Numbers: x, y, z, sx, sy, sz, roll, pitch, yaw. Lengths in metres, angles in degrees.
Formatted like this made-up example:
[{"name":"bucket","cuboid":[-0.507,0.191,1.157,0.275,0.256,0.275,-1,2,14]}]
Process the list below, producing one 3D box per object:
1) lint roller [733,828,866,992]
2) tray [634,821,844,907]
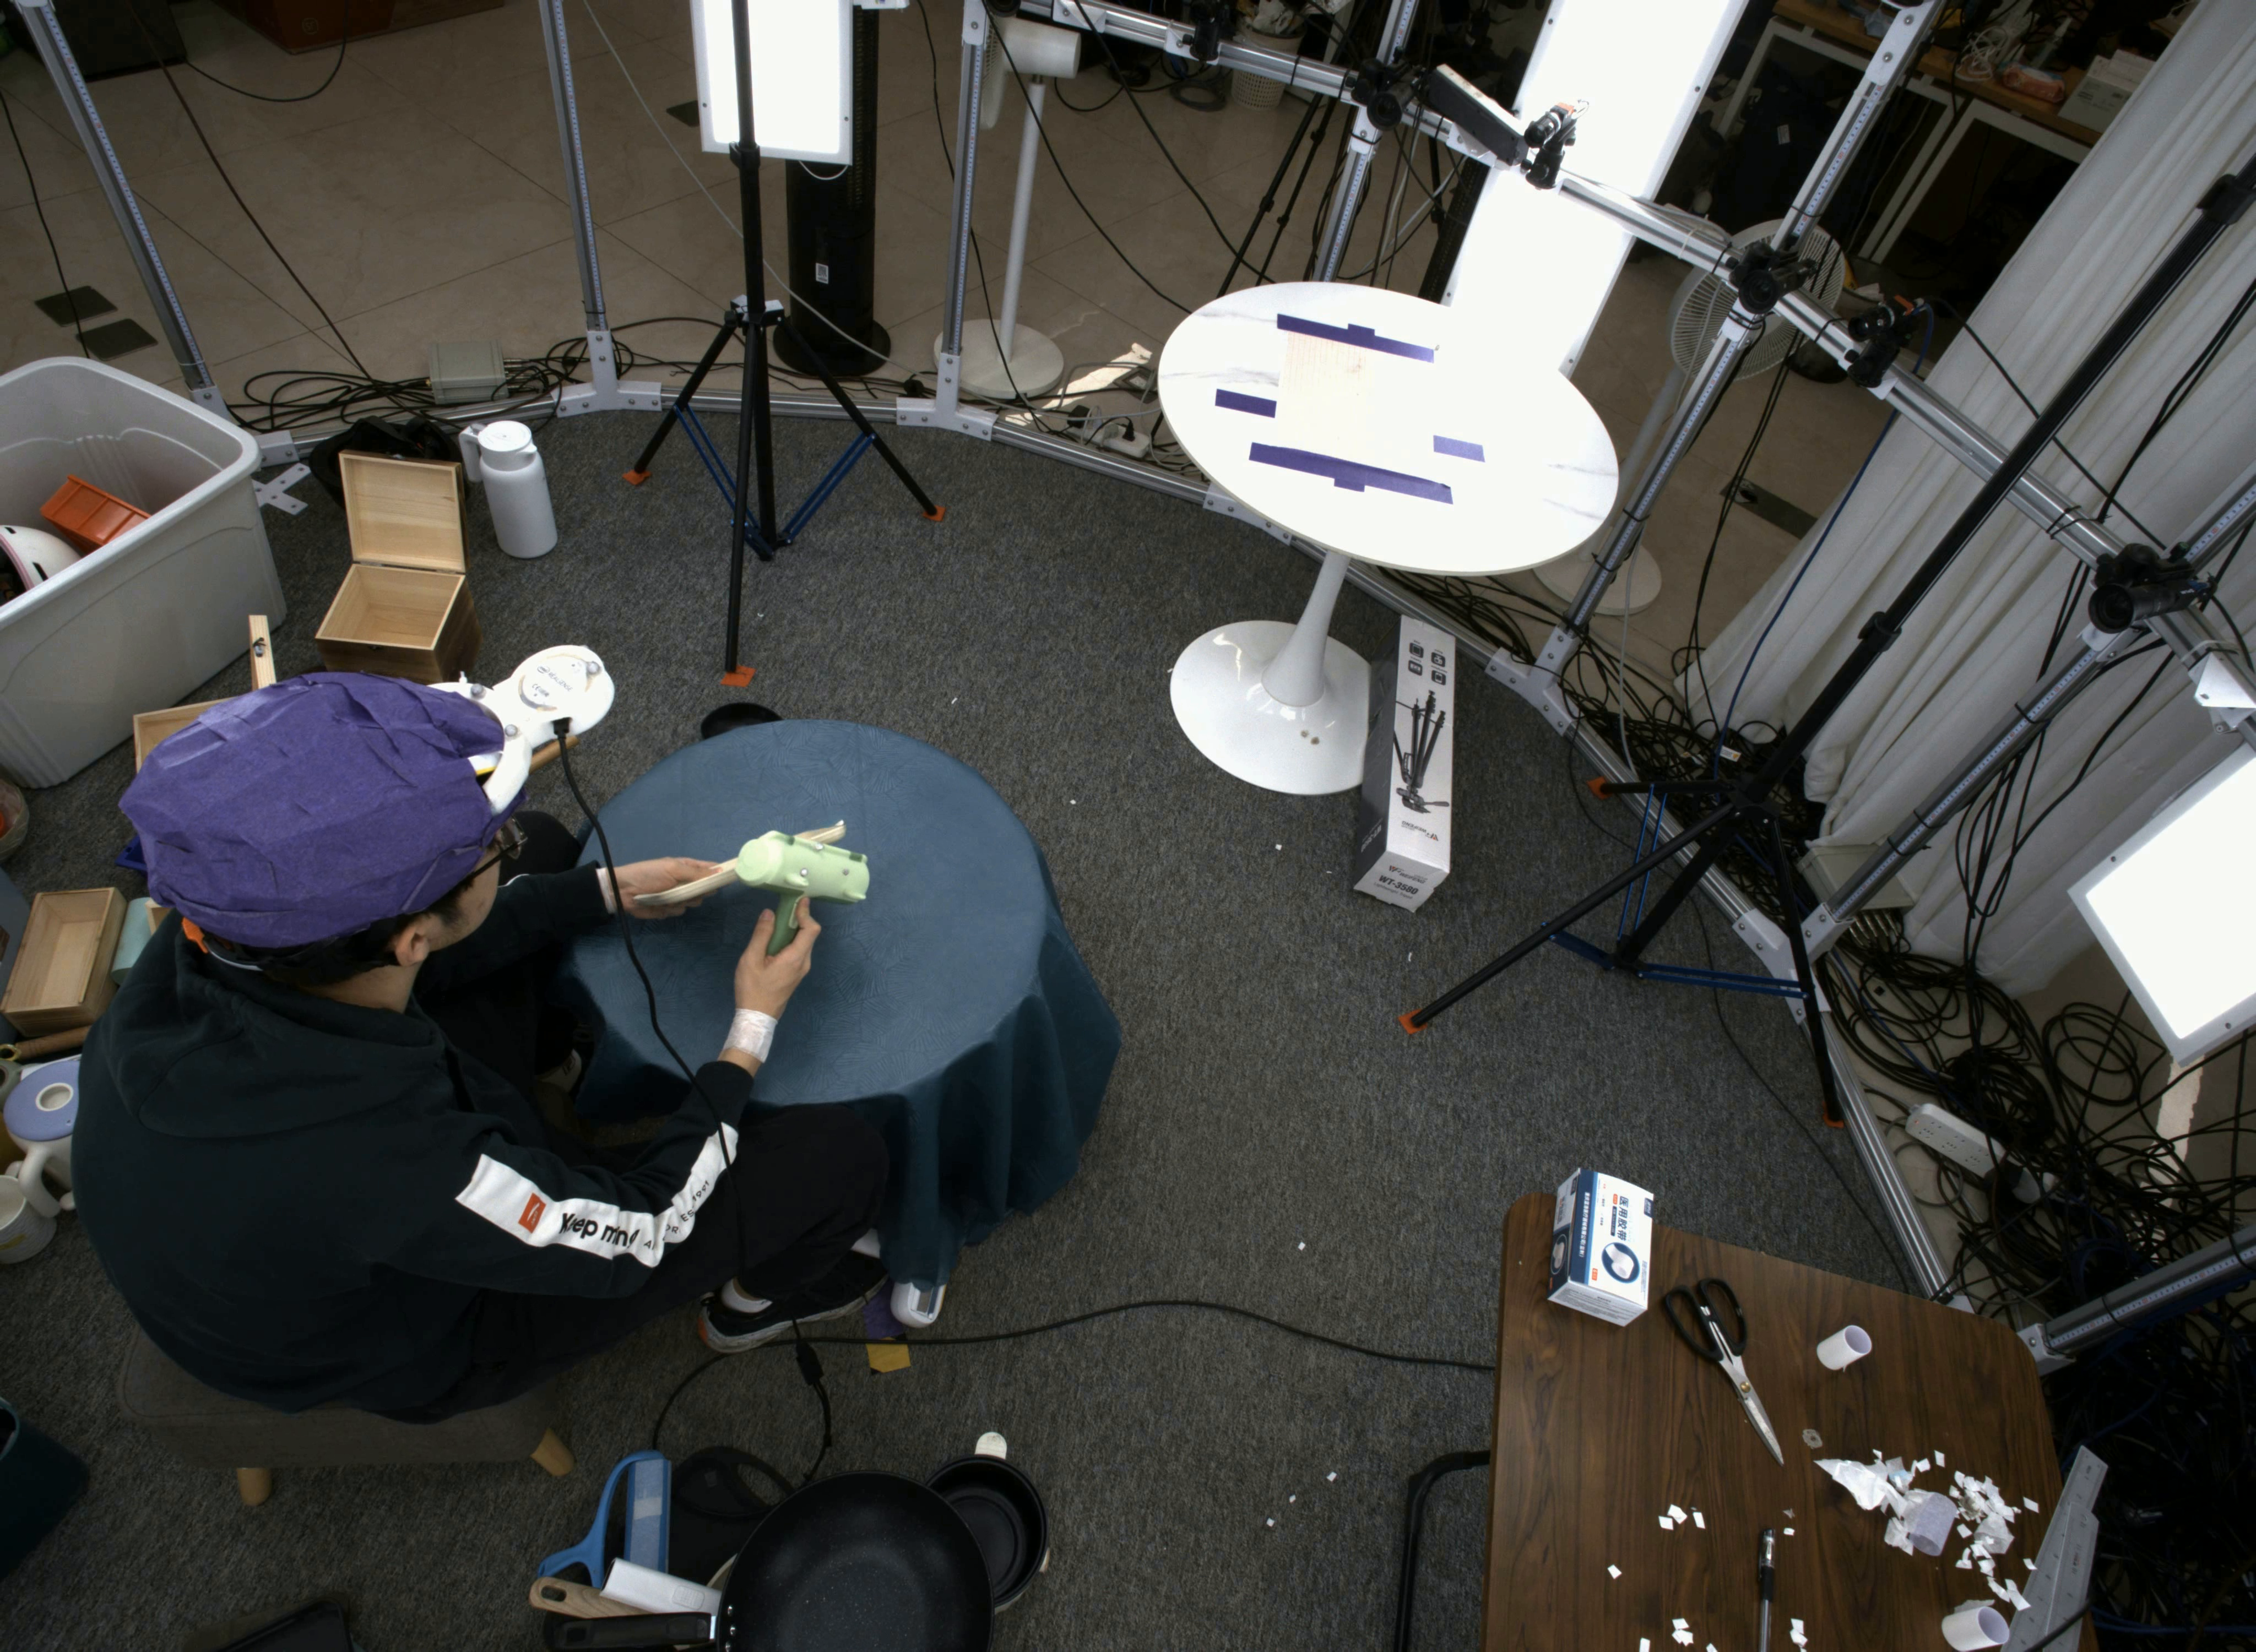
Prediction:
[{"name":"lint roller","cuboid":[-0.380,0.105,1.486,0.079,0.203,0.185,13,86,23]},{"name":"tray","cuboid":[-0.465,0.045,1.550,0.241,0.167,0.018,-24,98,-35]}]
